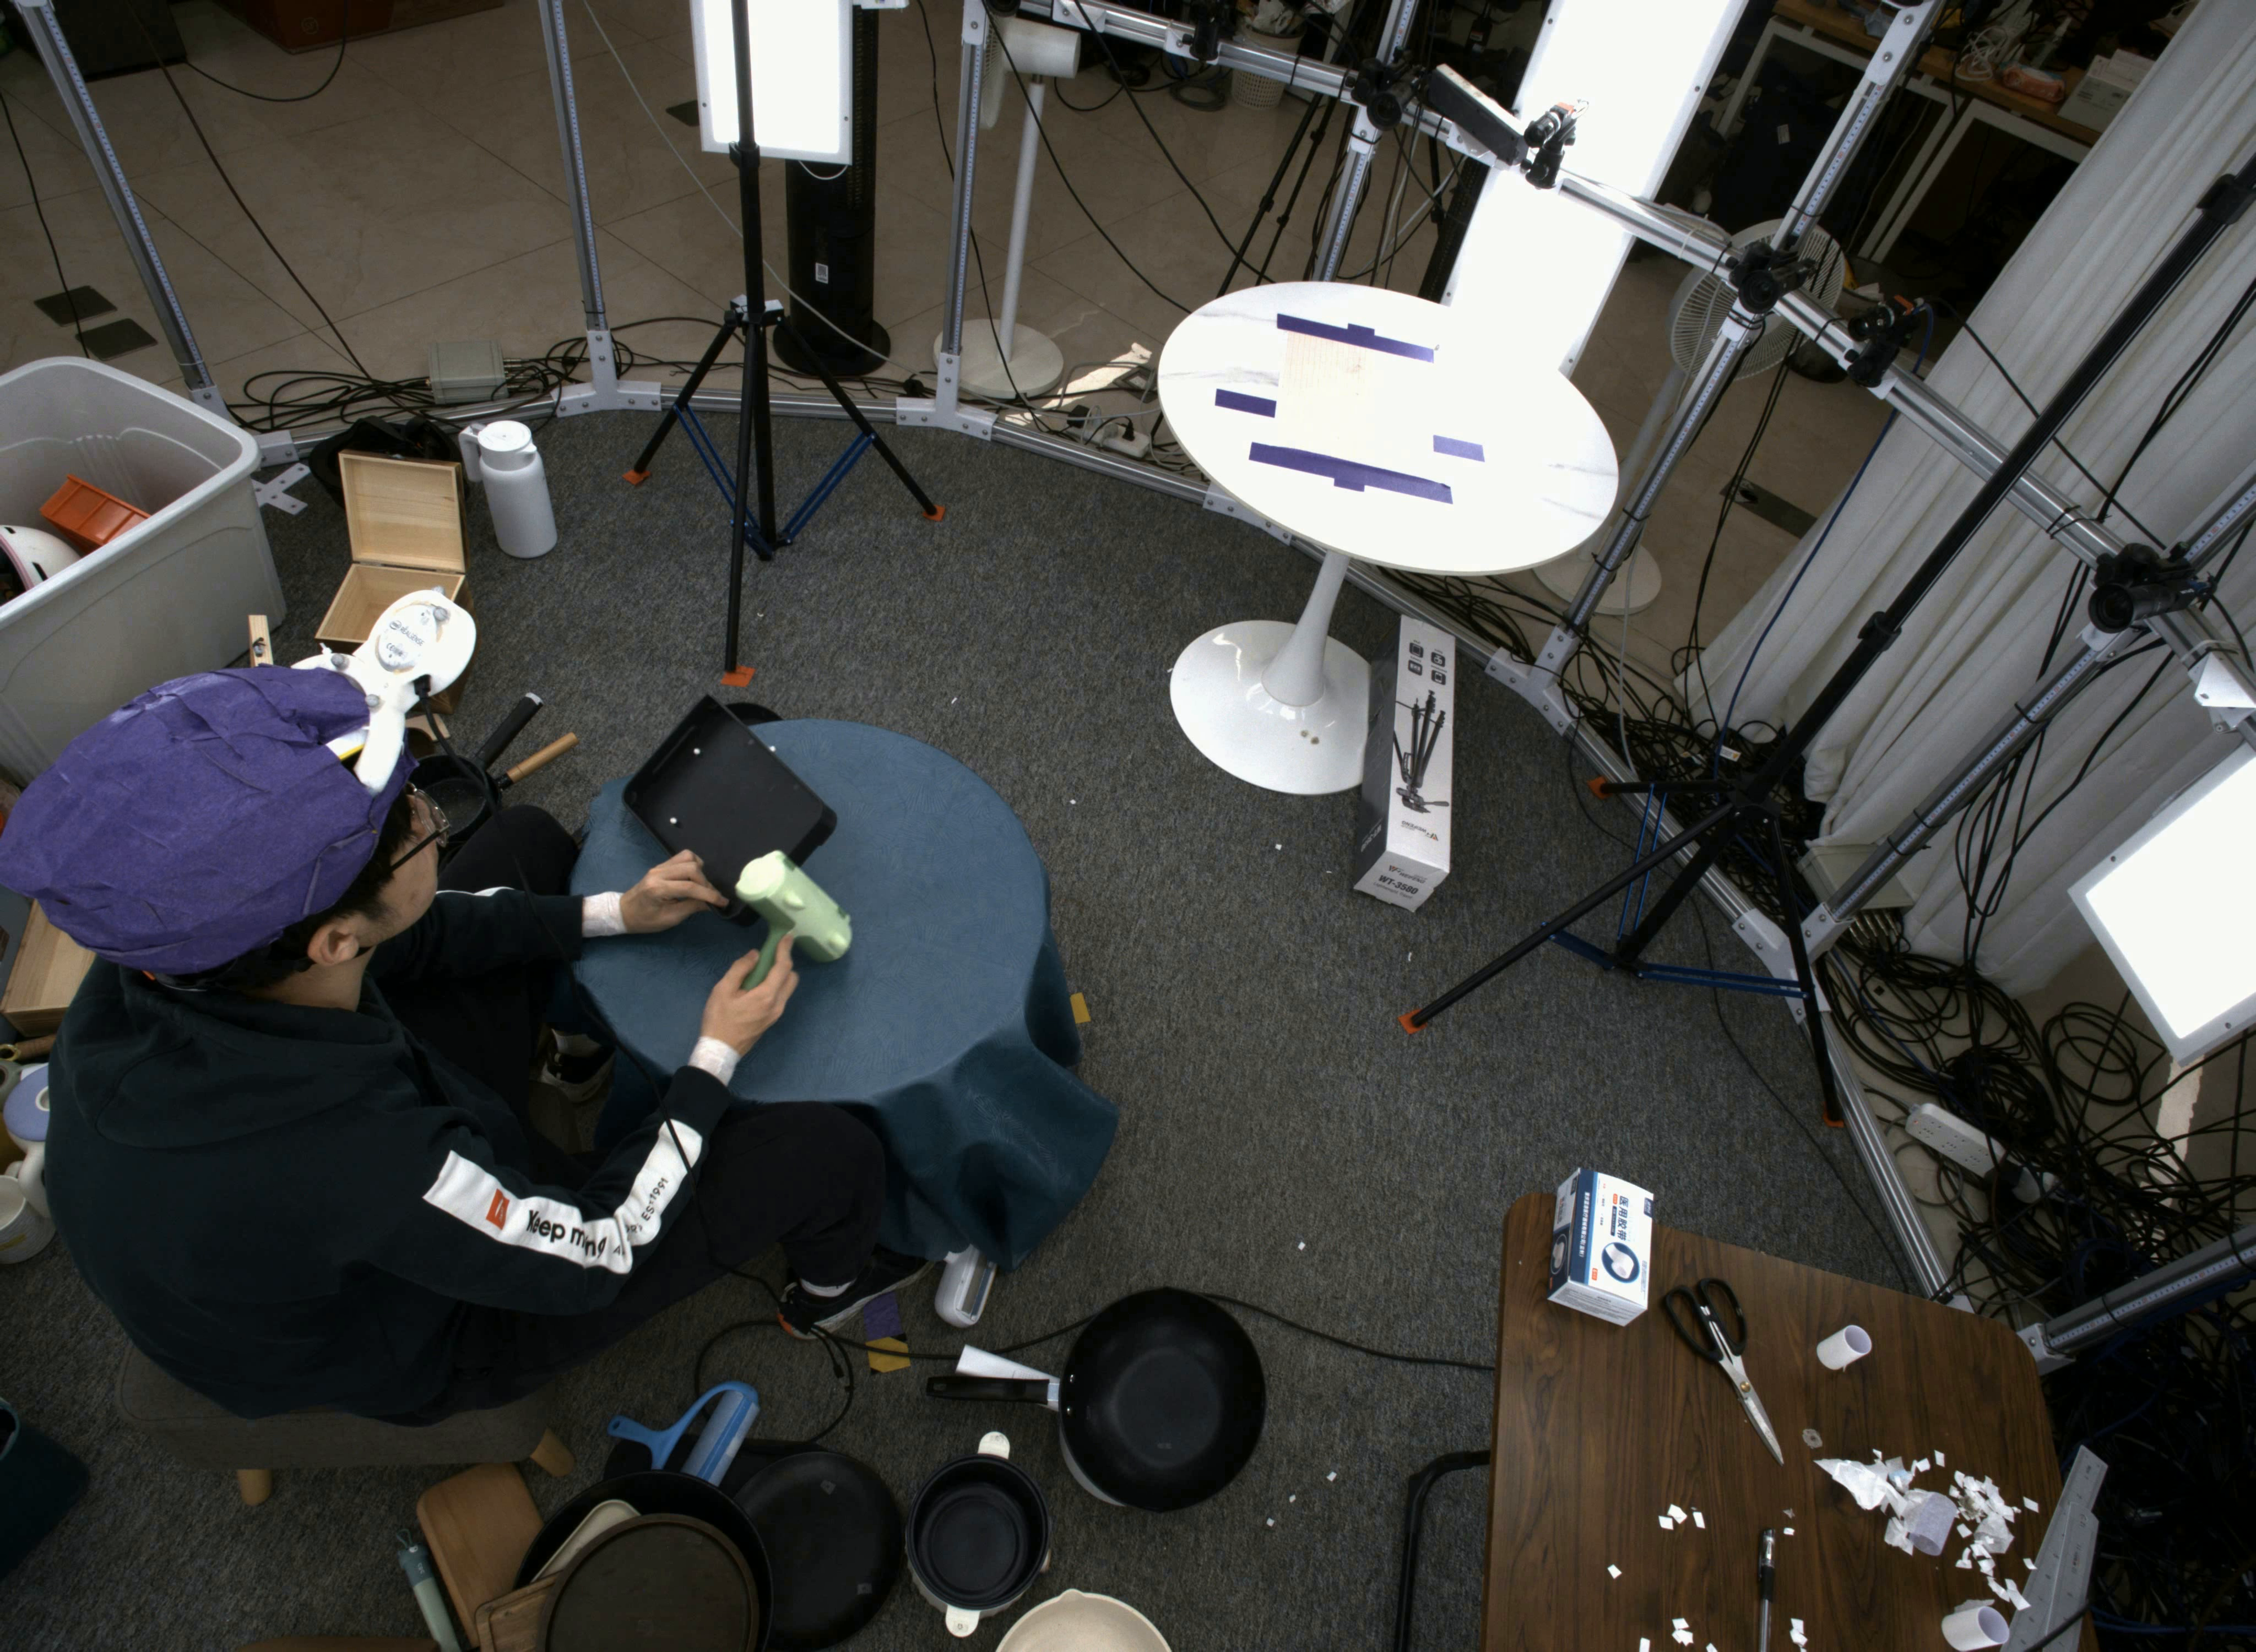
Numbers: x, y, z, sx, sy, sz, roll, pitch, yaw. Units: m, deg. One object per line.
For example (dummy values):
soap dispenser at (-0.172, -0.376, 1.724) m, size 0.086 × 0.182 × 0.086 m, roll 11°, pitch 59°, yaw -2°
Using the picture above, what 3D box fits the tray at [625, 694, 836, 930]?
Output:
tray at (-0.500, -0.024, 1.601) m, size 0.184 × 0.038 × 0.306 m, roll -49°, pitch 56°, yaw -3°

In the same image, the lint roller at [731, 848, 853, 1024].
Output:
lint roller at (-0.397, 0.147, 1.510) m, size 0.080 × 0.205 × 0.182 m, roll 8°, pitch 65°, yaw 20°
